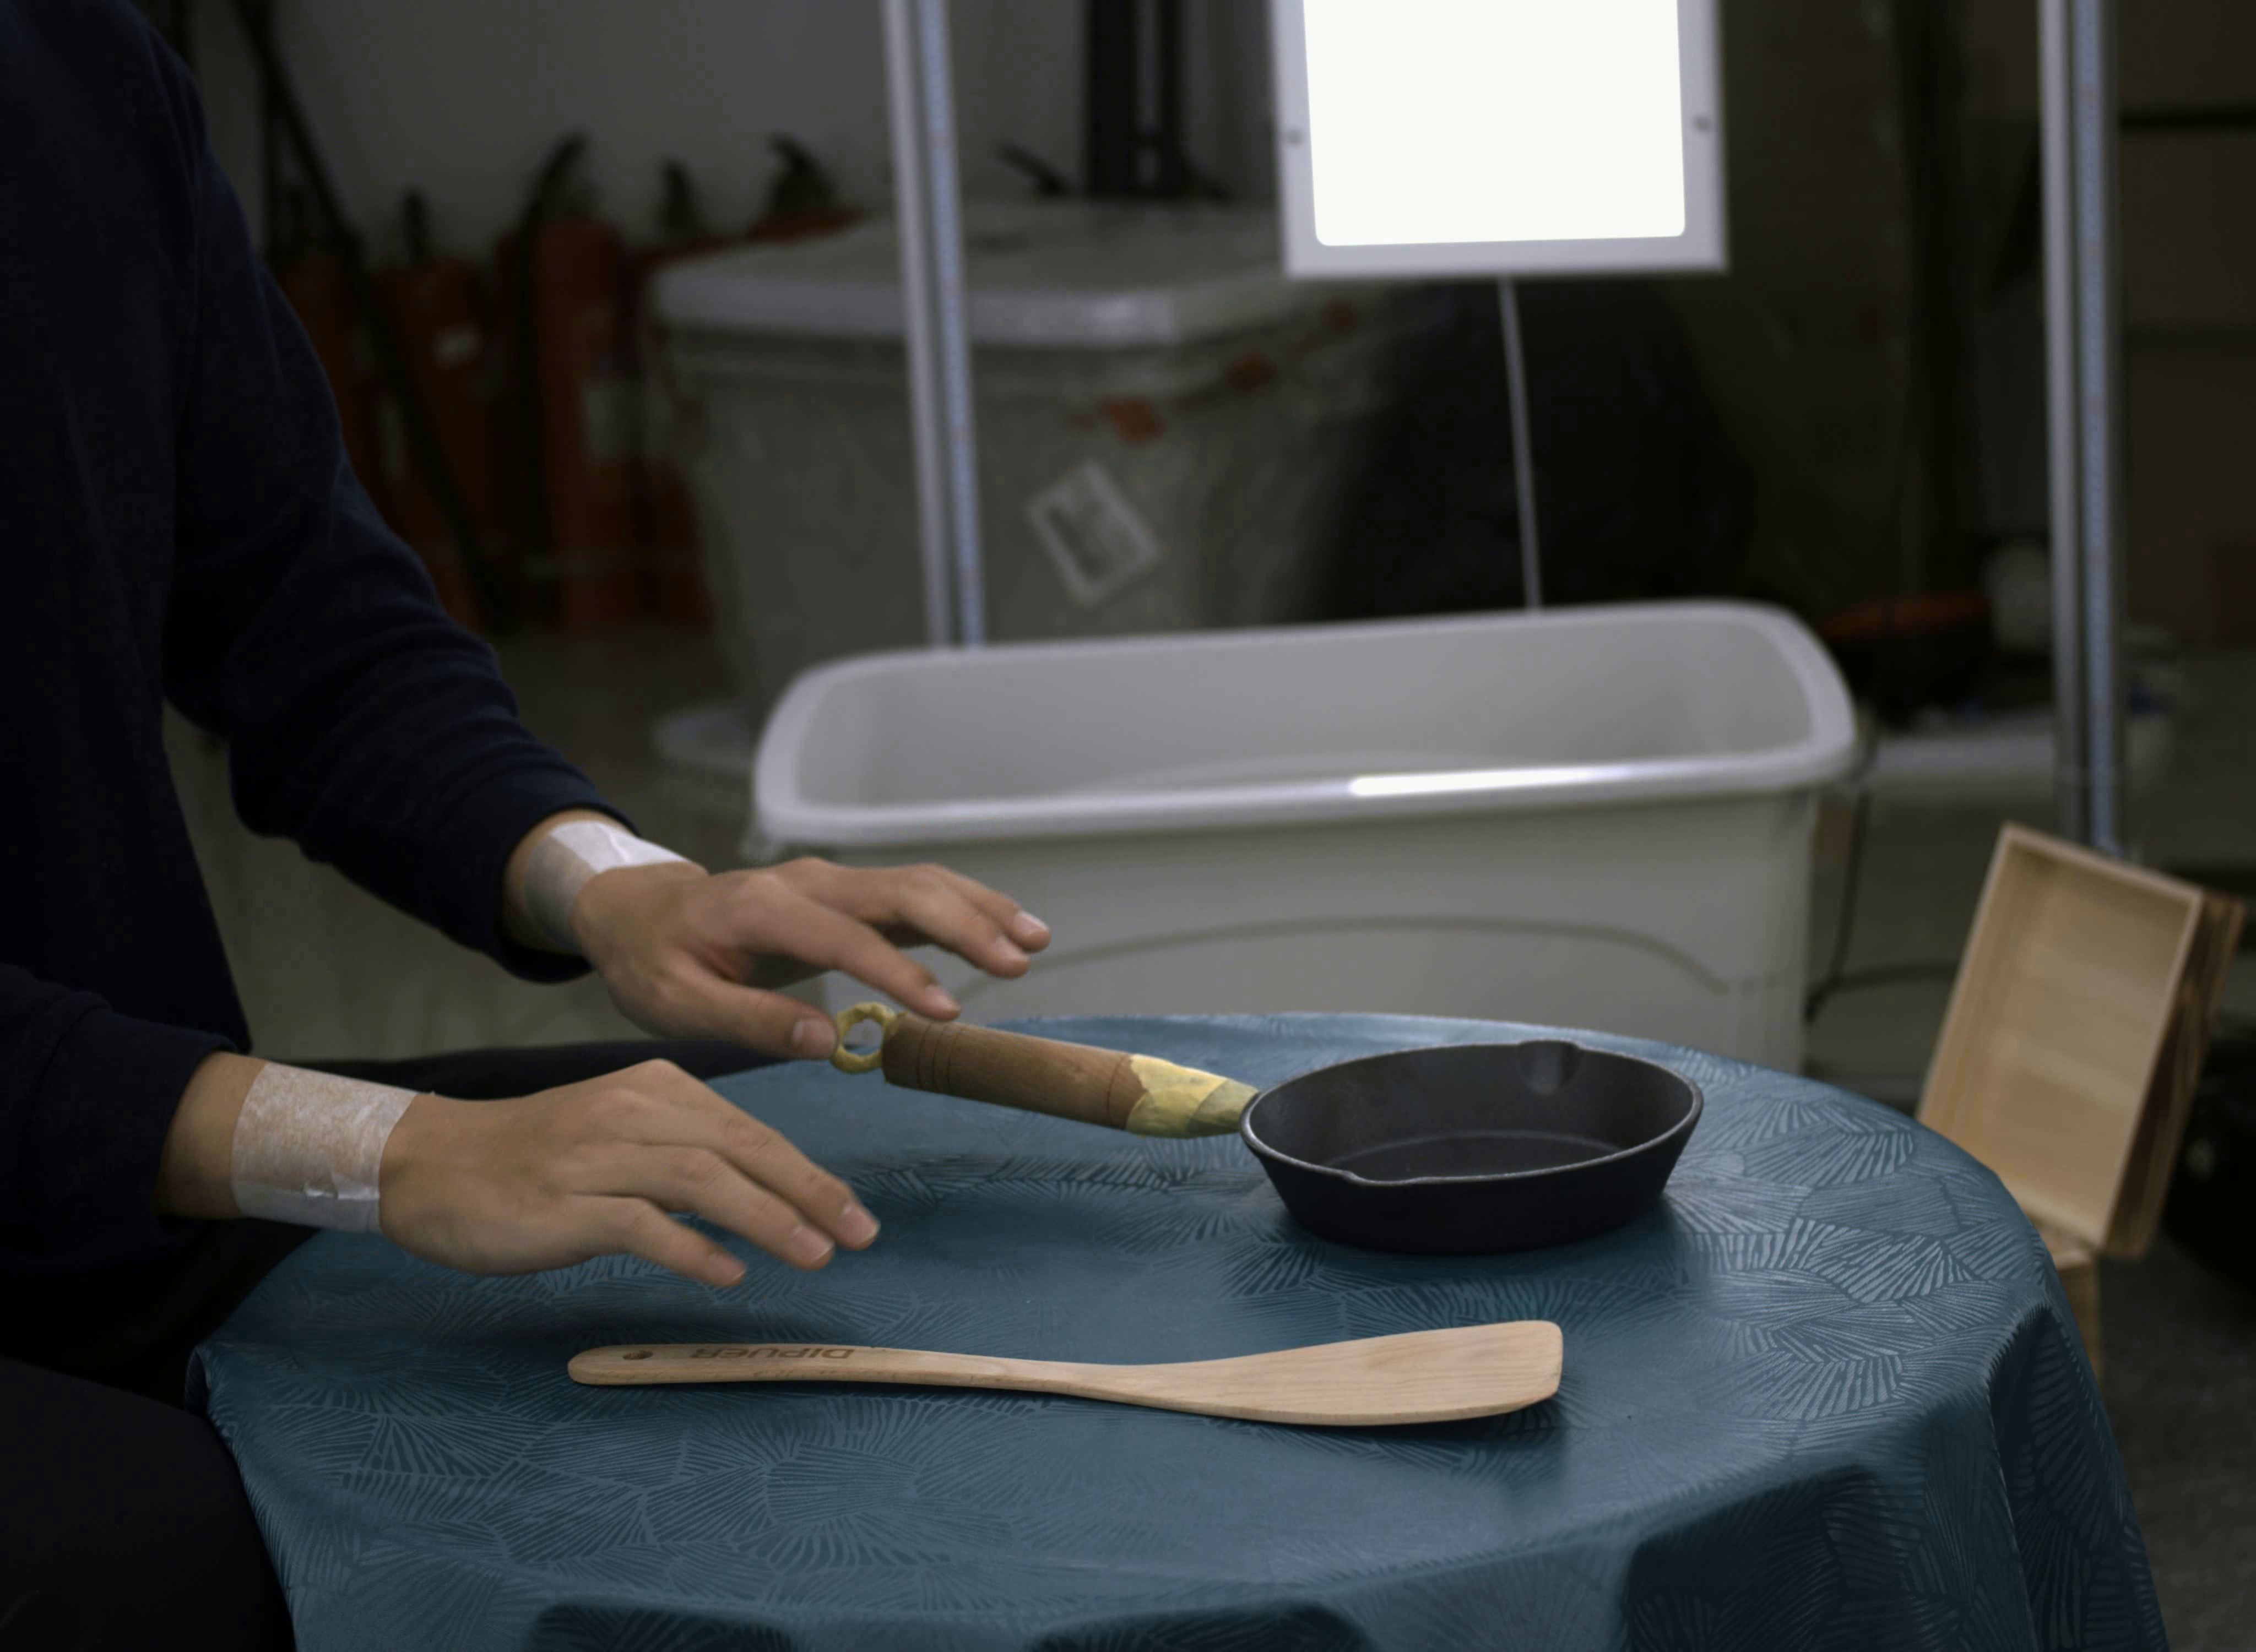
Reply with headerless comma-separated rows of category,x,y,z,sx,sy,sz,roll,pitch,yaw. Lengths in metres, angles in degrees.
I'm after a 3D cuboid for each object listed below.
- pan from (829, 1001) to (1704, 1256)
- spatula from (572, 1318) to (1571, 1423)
pan,0.041,0.097,1.894,0.330,0.050,0.165,4,16,29
spatula,-0.019,0.166,1.708,0.331,0.016,0.078,0,14,18
